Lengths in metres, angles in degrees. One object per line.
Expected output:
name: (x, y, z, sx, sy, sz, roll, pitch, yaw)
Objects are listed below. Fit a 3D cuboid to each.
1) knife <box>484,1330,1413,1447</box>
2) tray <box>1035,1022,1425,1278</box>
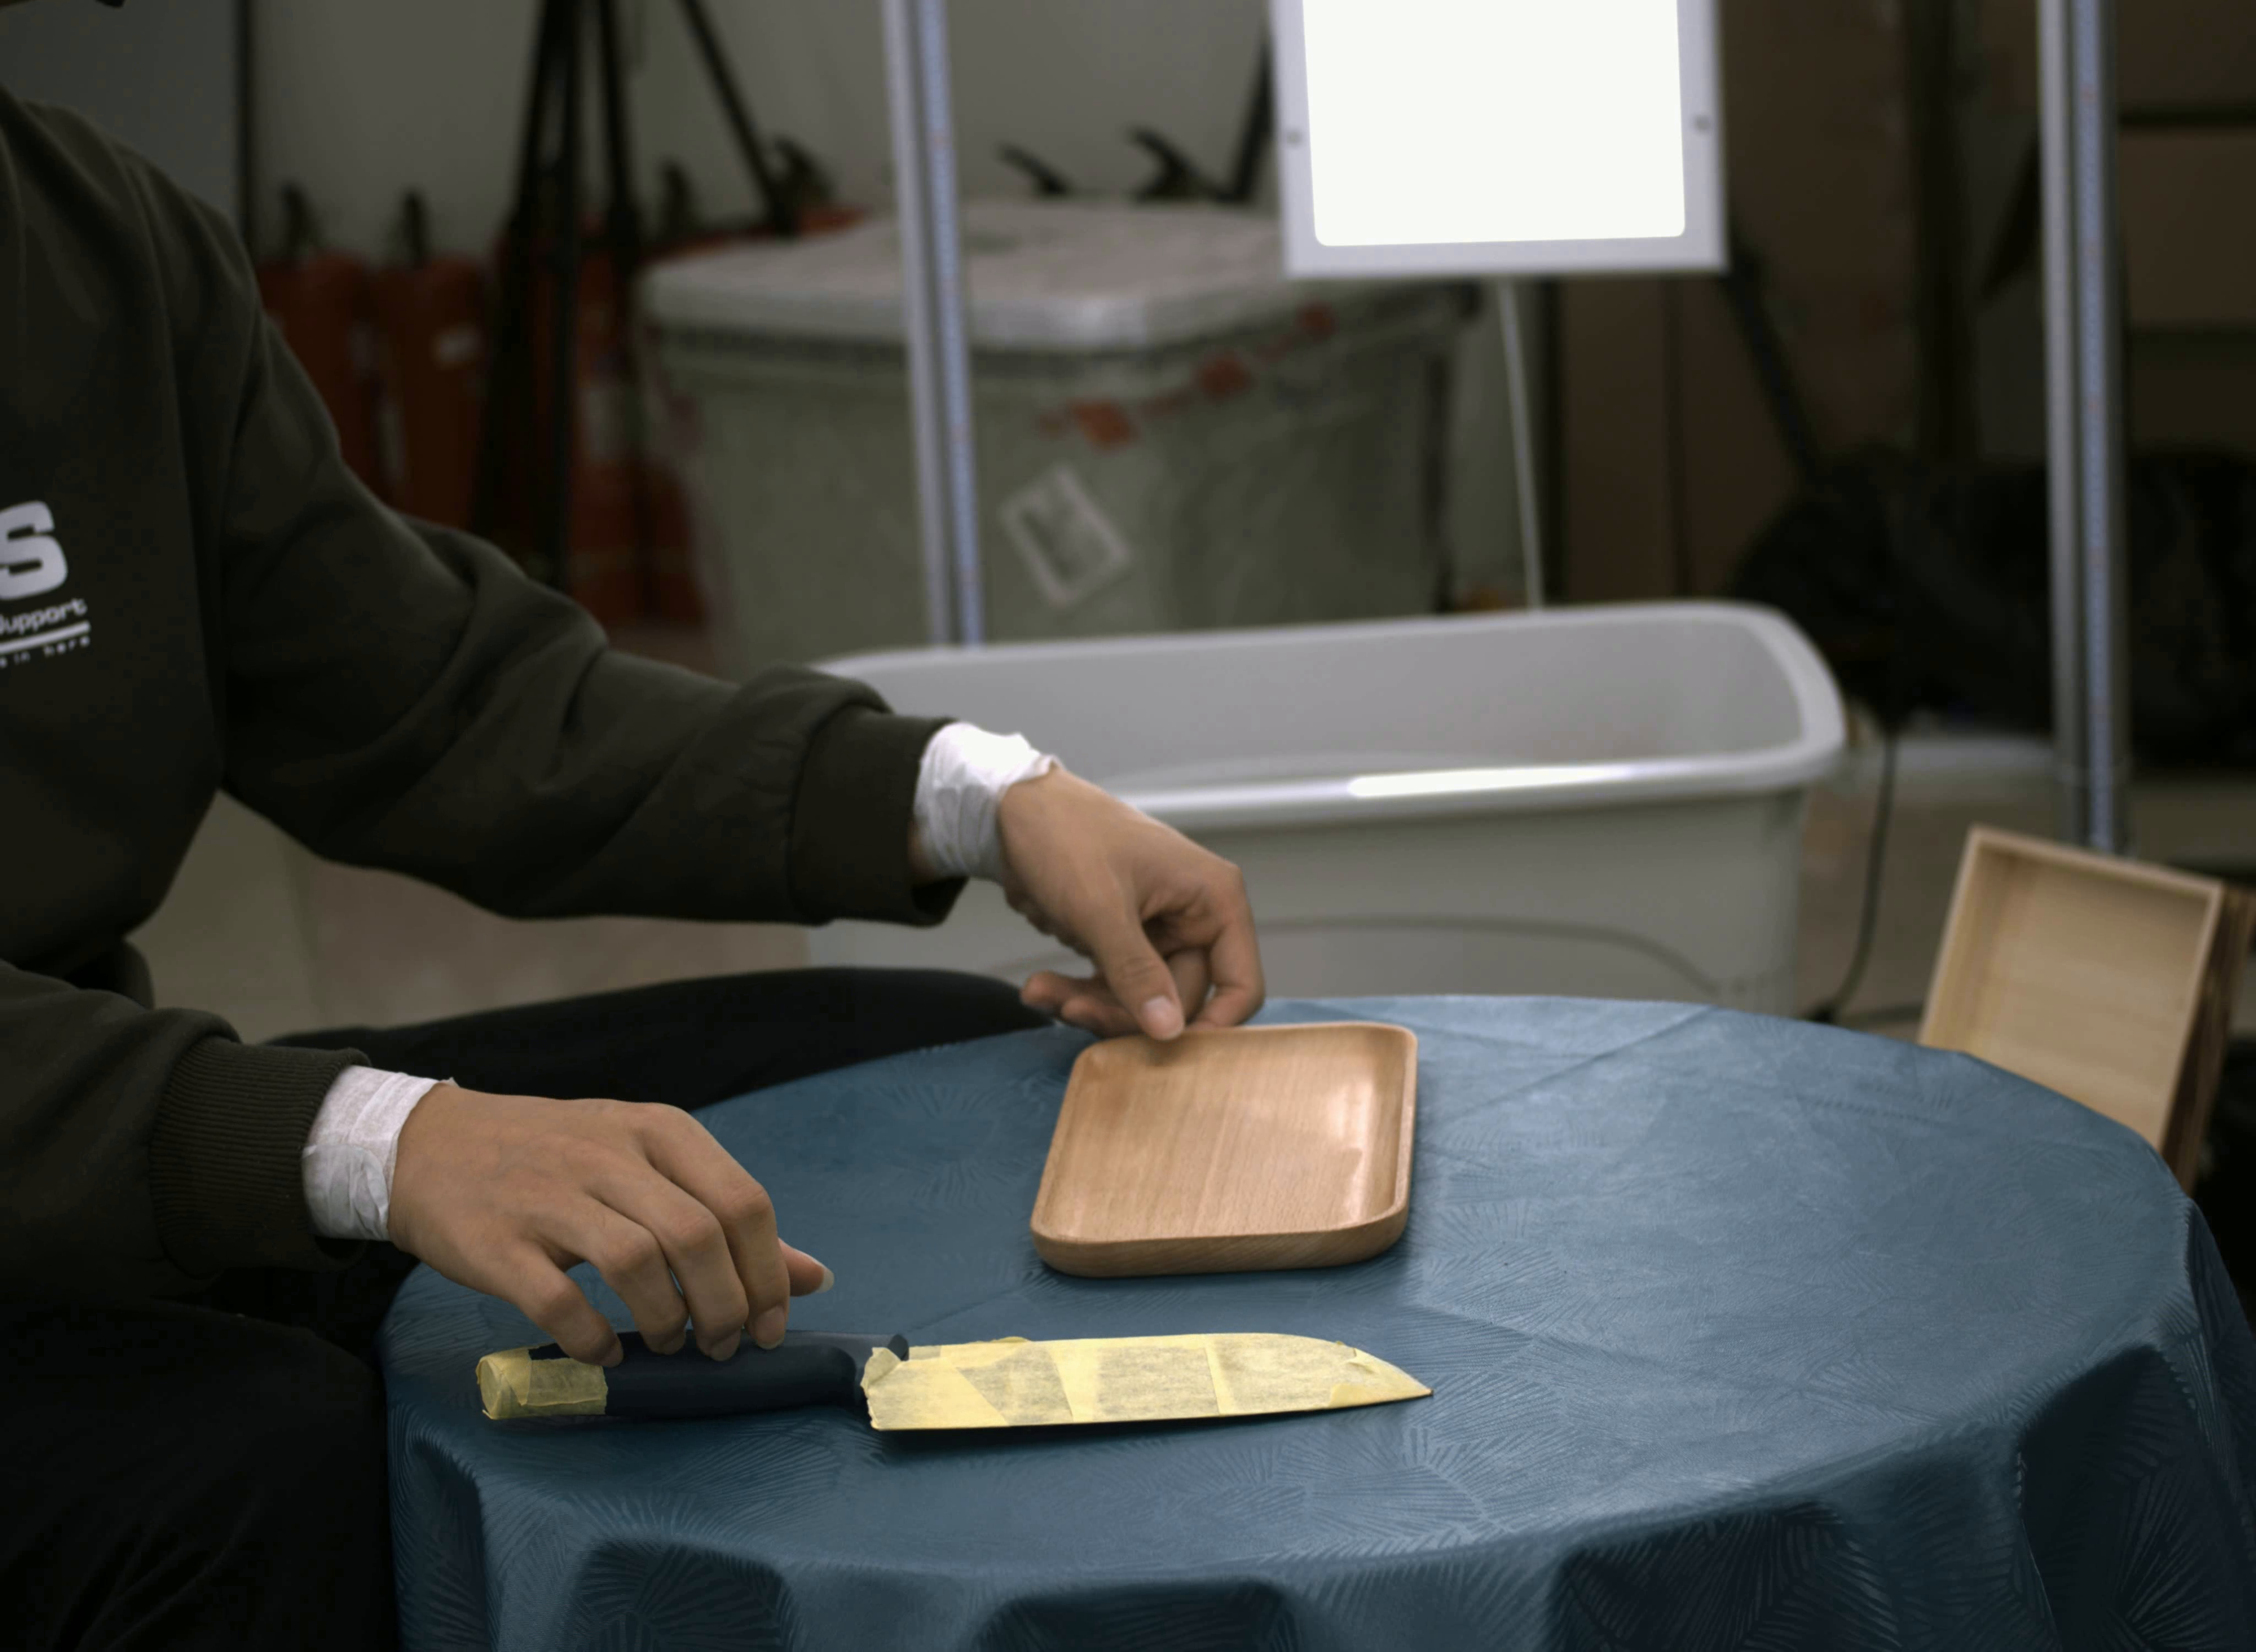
knife: (-0.055, 0.174, 1.698, 0.289, 0.027, 0.081, -4, 12, 2)
tray: (0.040, 0.111, 1.919, 0.131, 0.023, 0.249, -6, 14, 7)
